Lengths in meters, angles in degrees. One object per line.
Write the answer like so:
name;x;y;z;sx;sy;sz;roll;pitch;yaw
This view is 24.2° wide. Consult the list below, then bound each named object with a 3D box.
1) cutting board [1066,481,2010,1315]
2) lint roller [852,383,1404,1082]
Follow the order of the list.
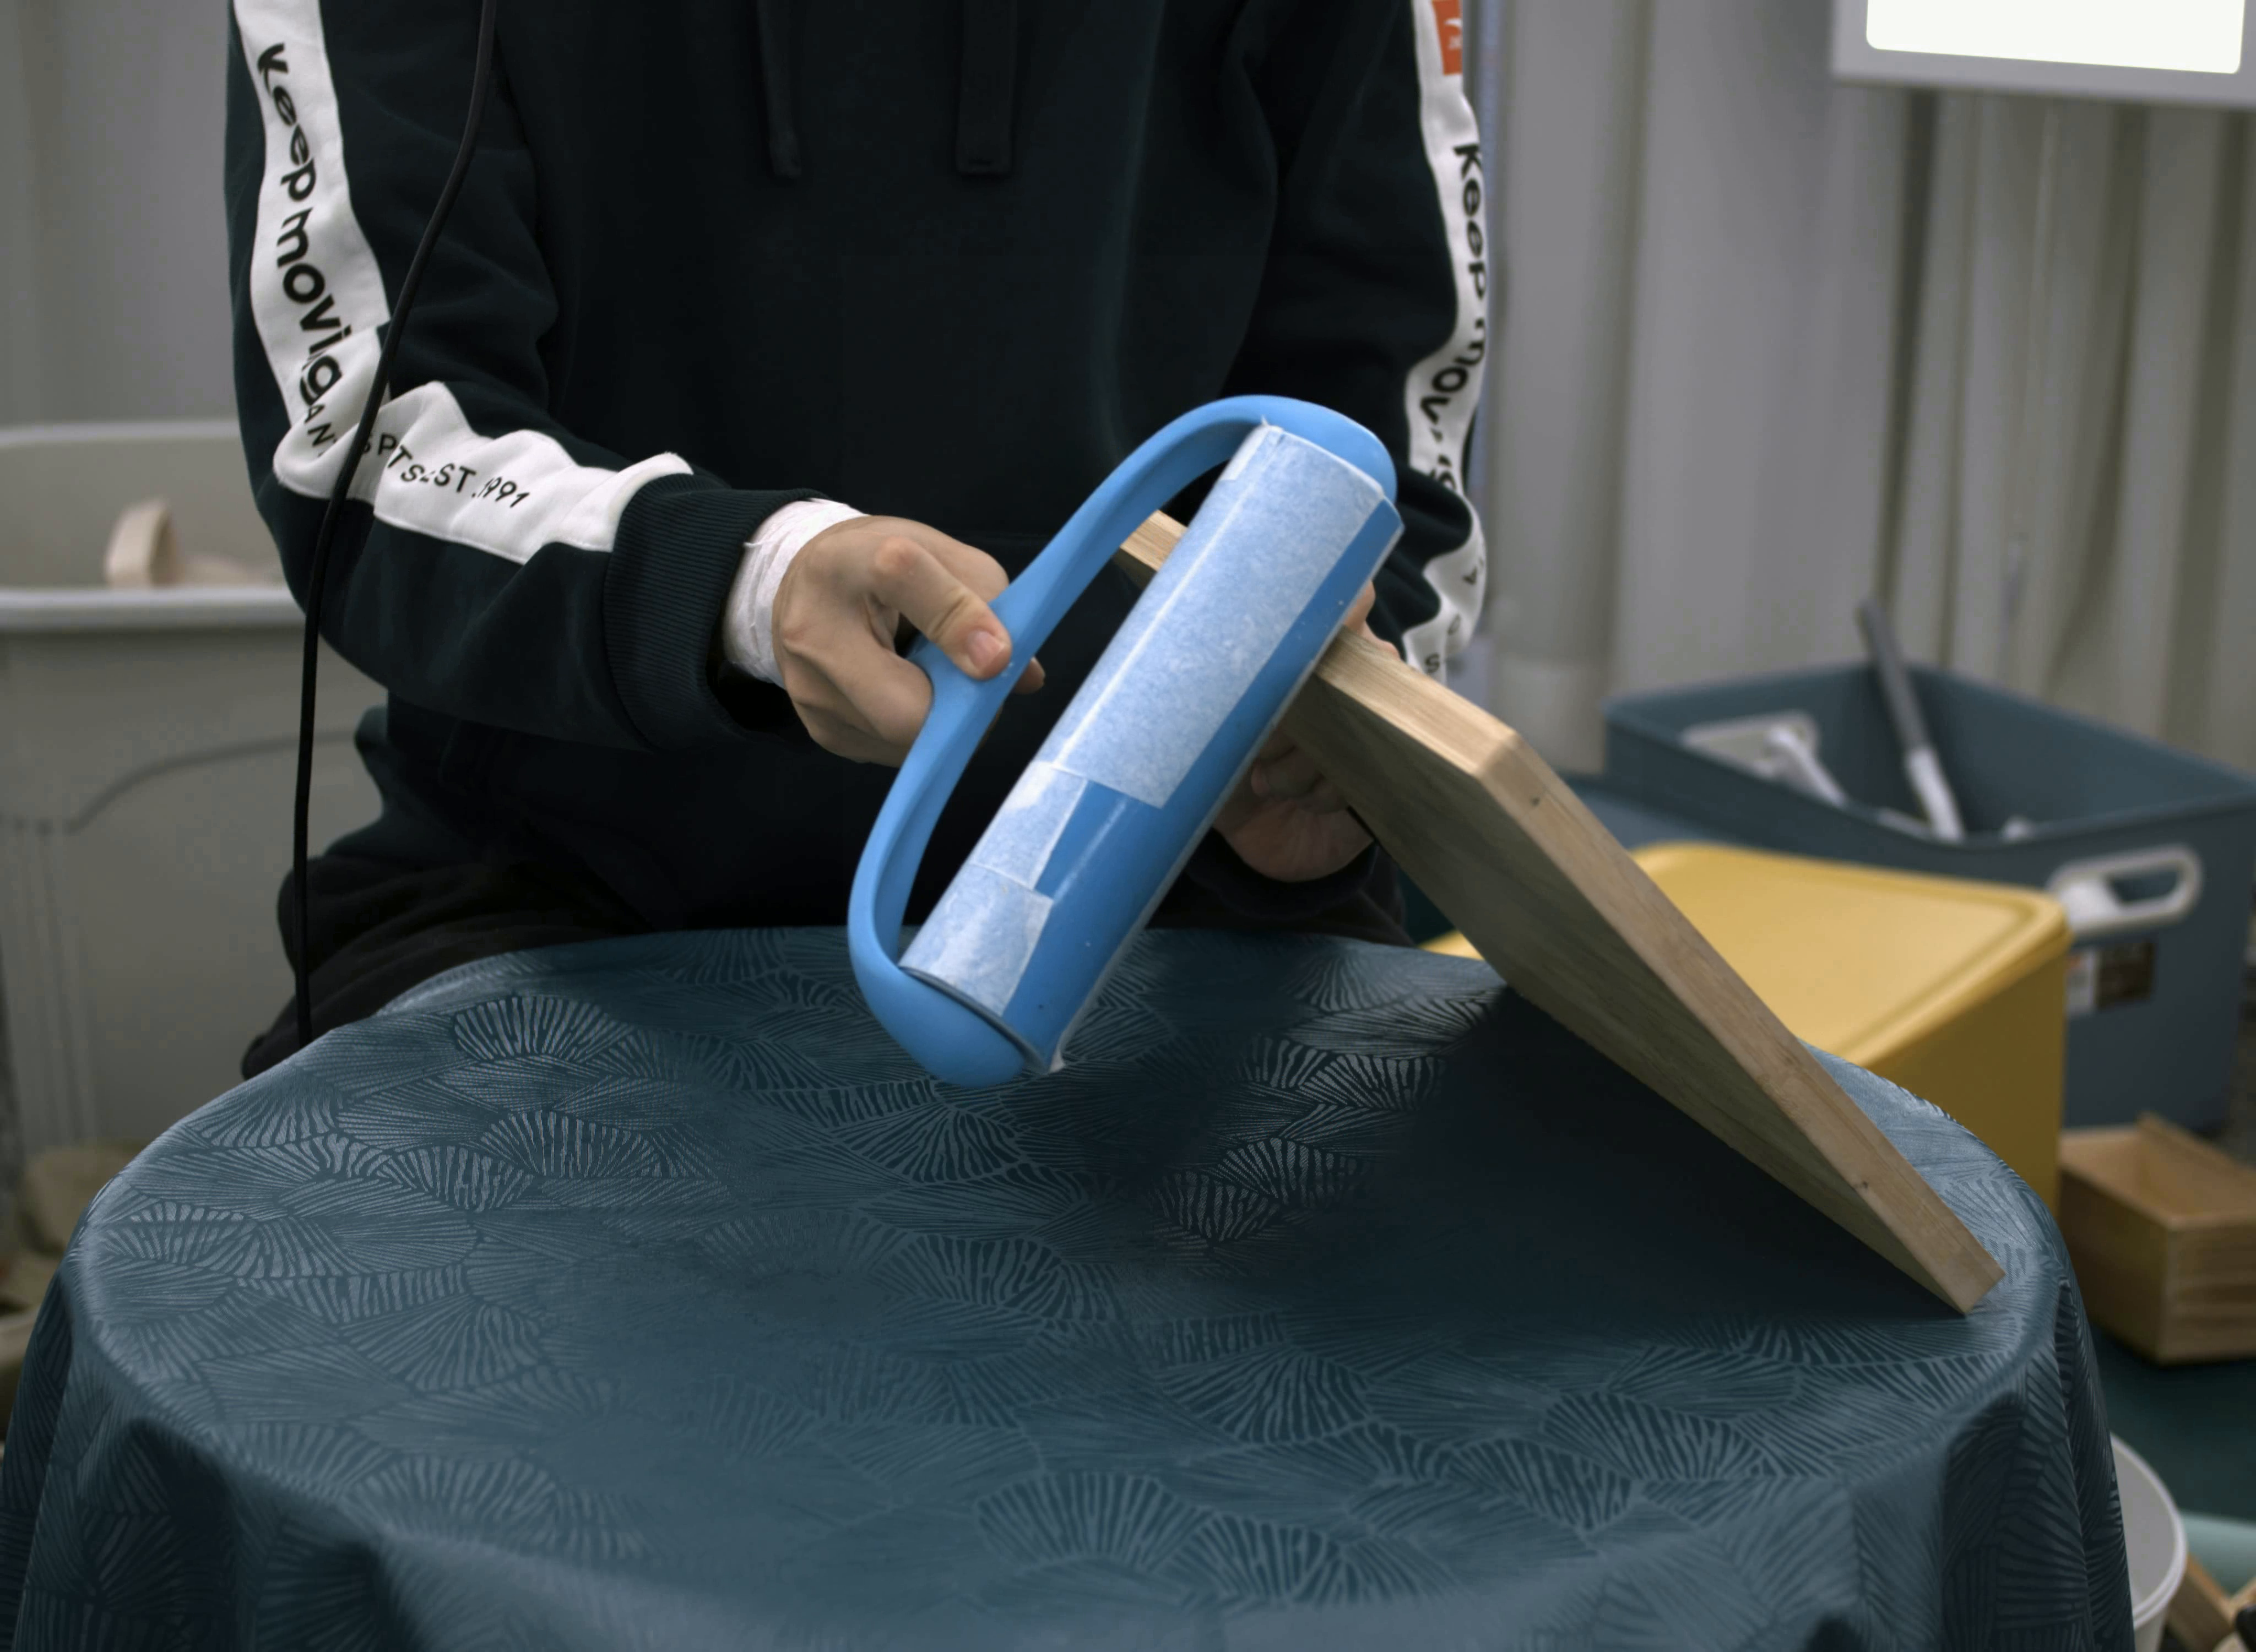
cutting board;0.116;0.014;1.624;0.023;0.253;0.344;-45;26;-4
lint roller;-0.030;-0.035;1.554;0.178;0.229;0.069;14;-21;50
